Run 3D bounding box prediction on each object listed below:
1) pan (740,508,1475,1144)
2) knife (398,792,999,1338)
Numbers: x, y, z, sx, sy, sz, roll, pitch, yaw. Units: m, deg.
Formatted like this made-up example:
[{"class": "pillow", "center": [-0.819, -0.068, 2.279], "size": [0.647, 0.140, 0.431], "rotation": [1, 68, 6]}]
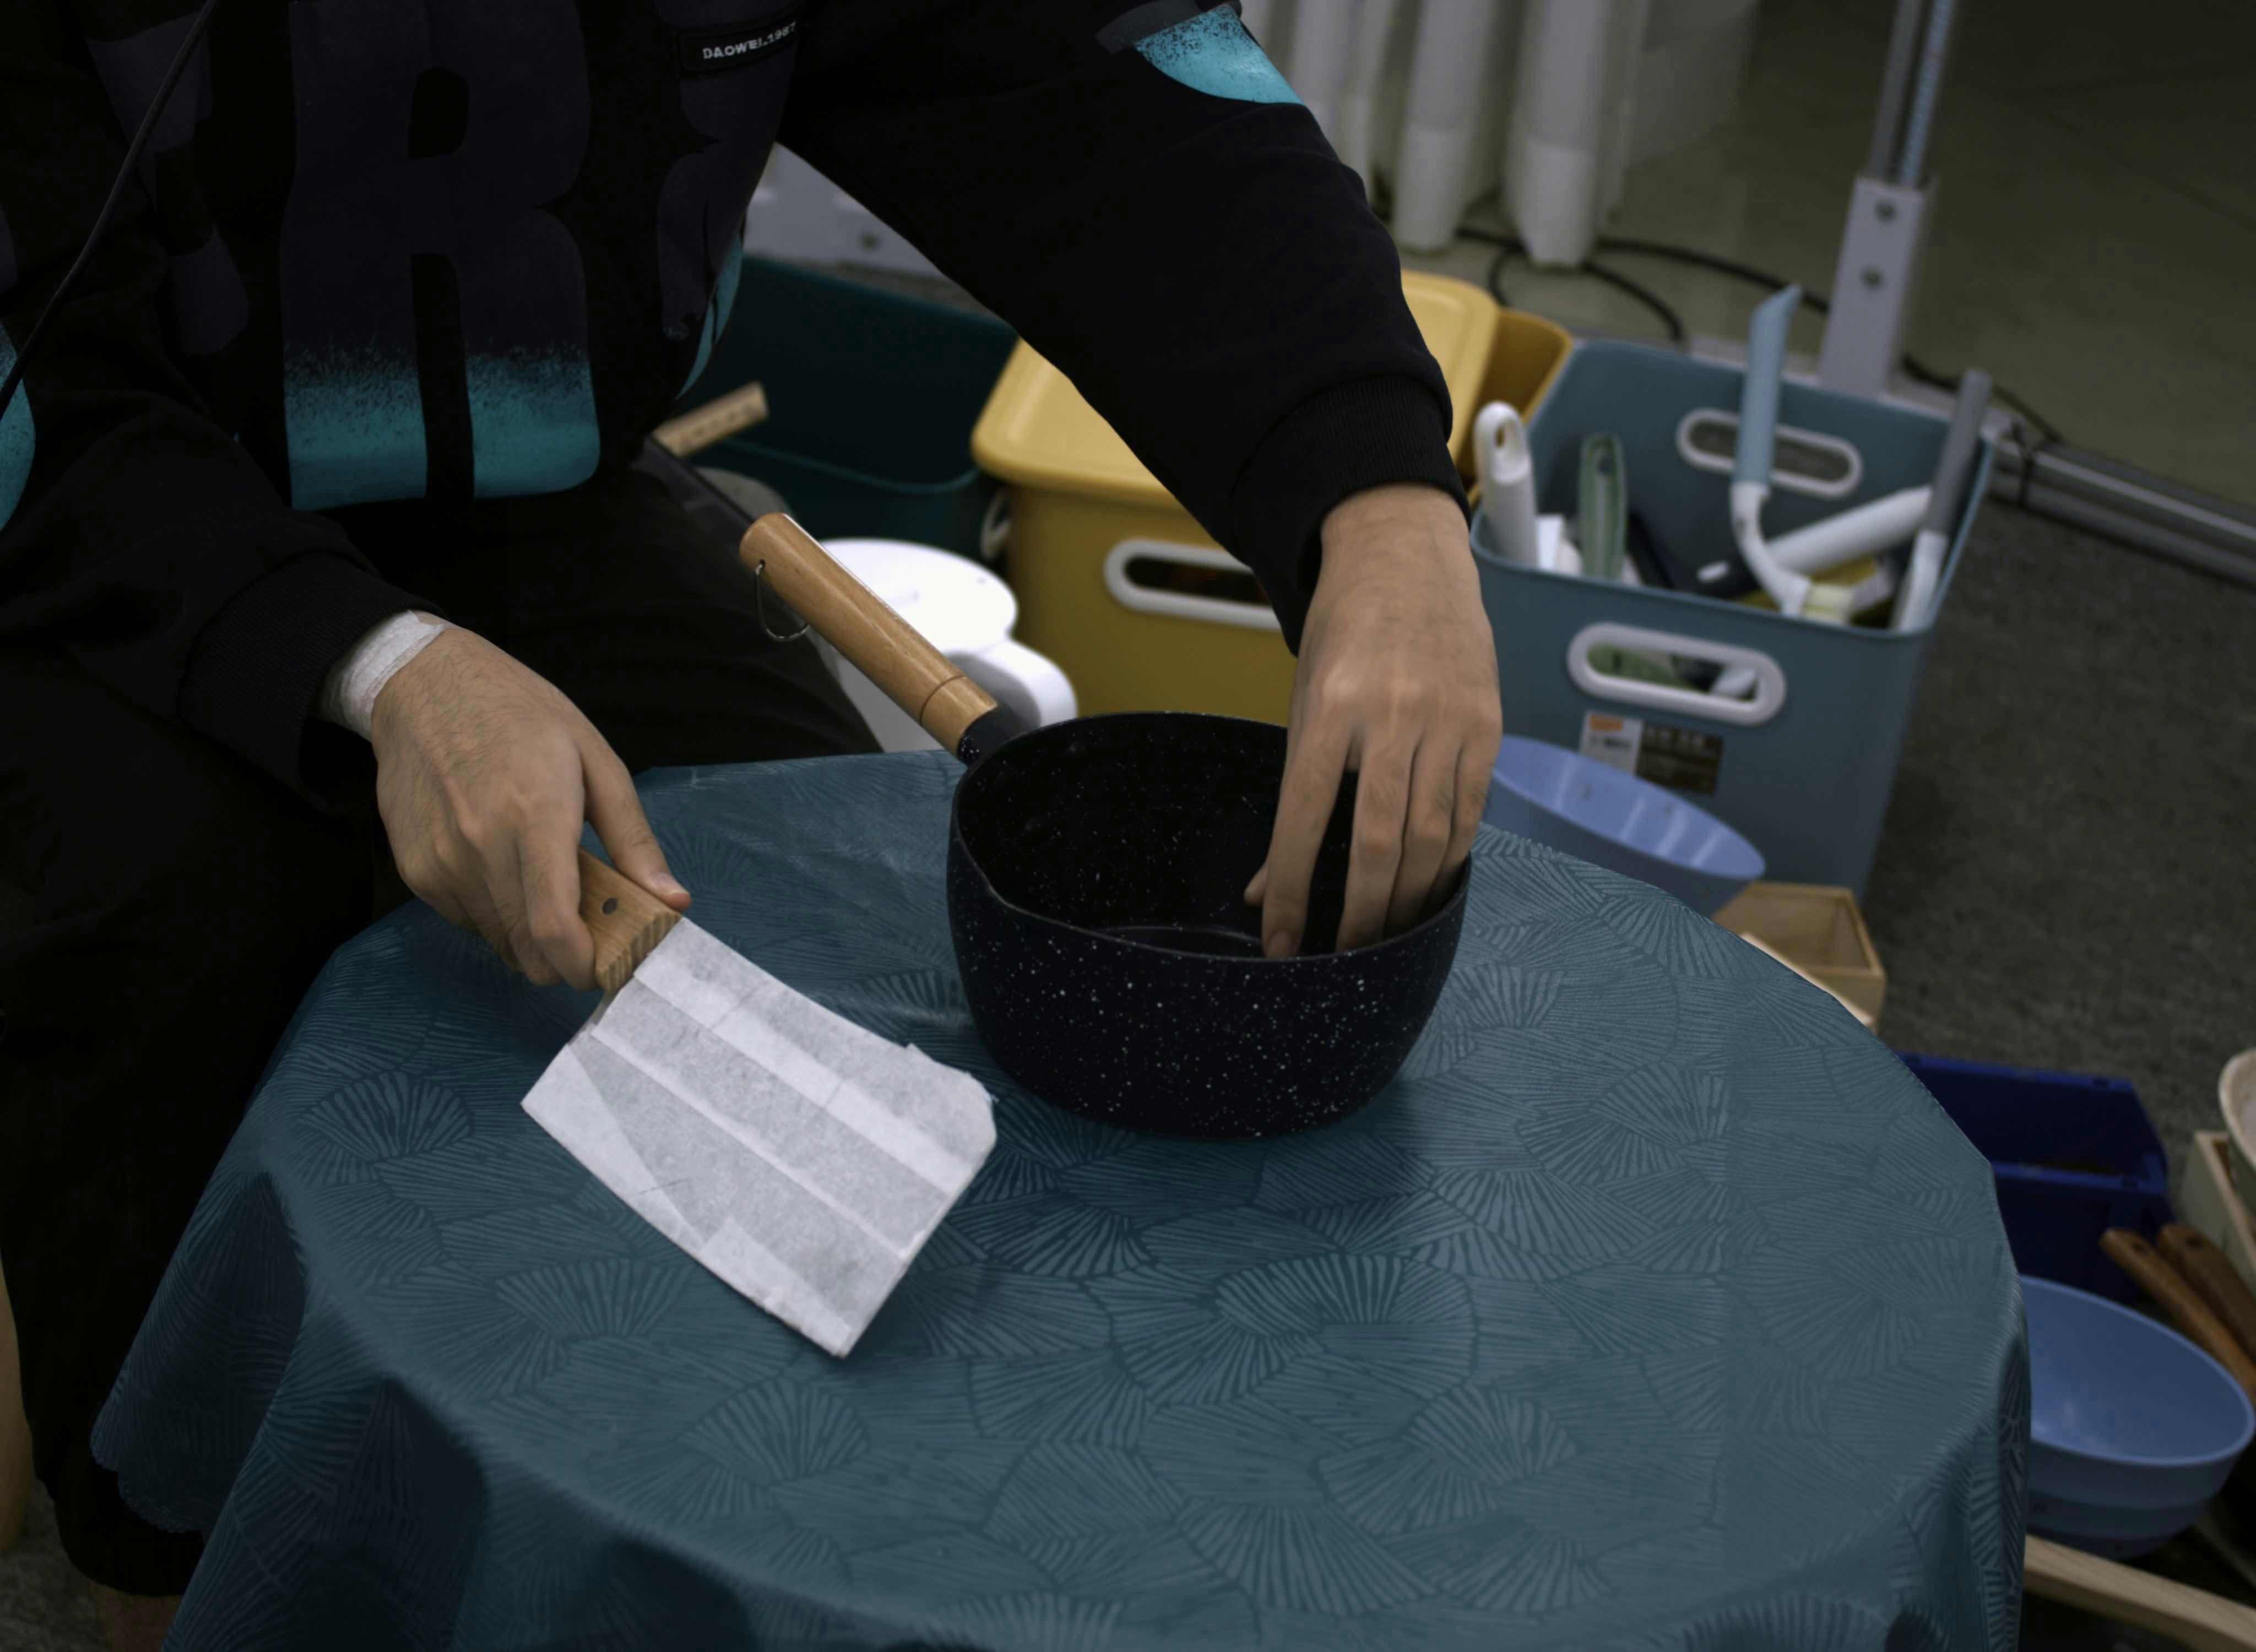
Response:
[{"class": "pan", "center": [-0.029, -0.004, 1.925], "size": [0.206, 0.108, 0.345], "rotation": [-21, 39, -41]}, {"class": "knife", "center": [-0.155, 0.067, 1.796], "size": [0.114, 0.021, 0.318], "rotation": [-48, 46, -6]}]
